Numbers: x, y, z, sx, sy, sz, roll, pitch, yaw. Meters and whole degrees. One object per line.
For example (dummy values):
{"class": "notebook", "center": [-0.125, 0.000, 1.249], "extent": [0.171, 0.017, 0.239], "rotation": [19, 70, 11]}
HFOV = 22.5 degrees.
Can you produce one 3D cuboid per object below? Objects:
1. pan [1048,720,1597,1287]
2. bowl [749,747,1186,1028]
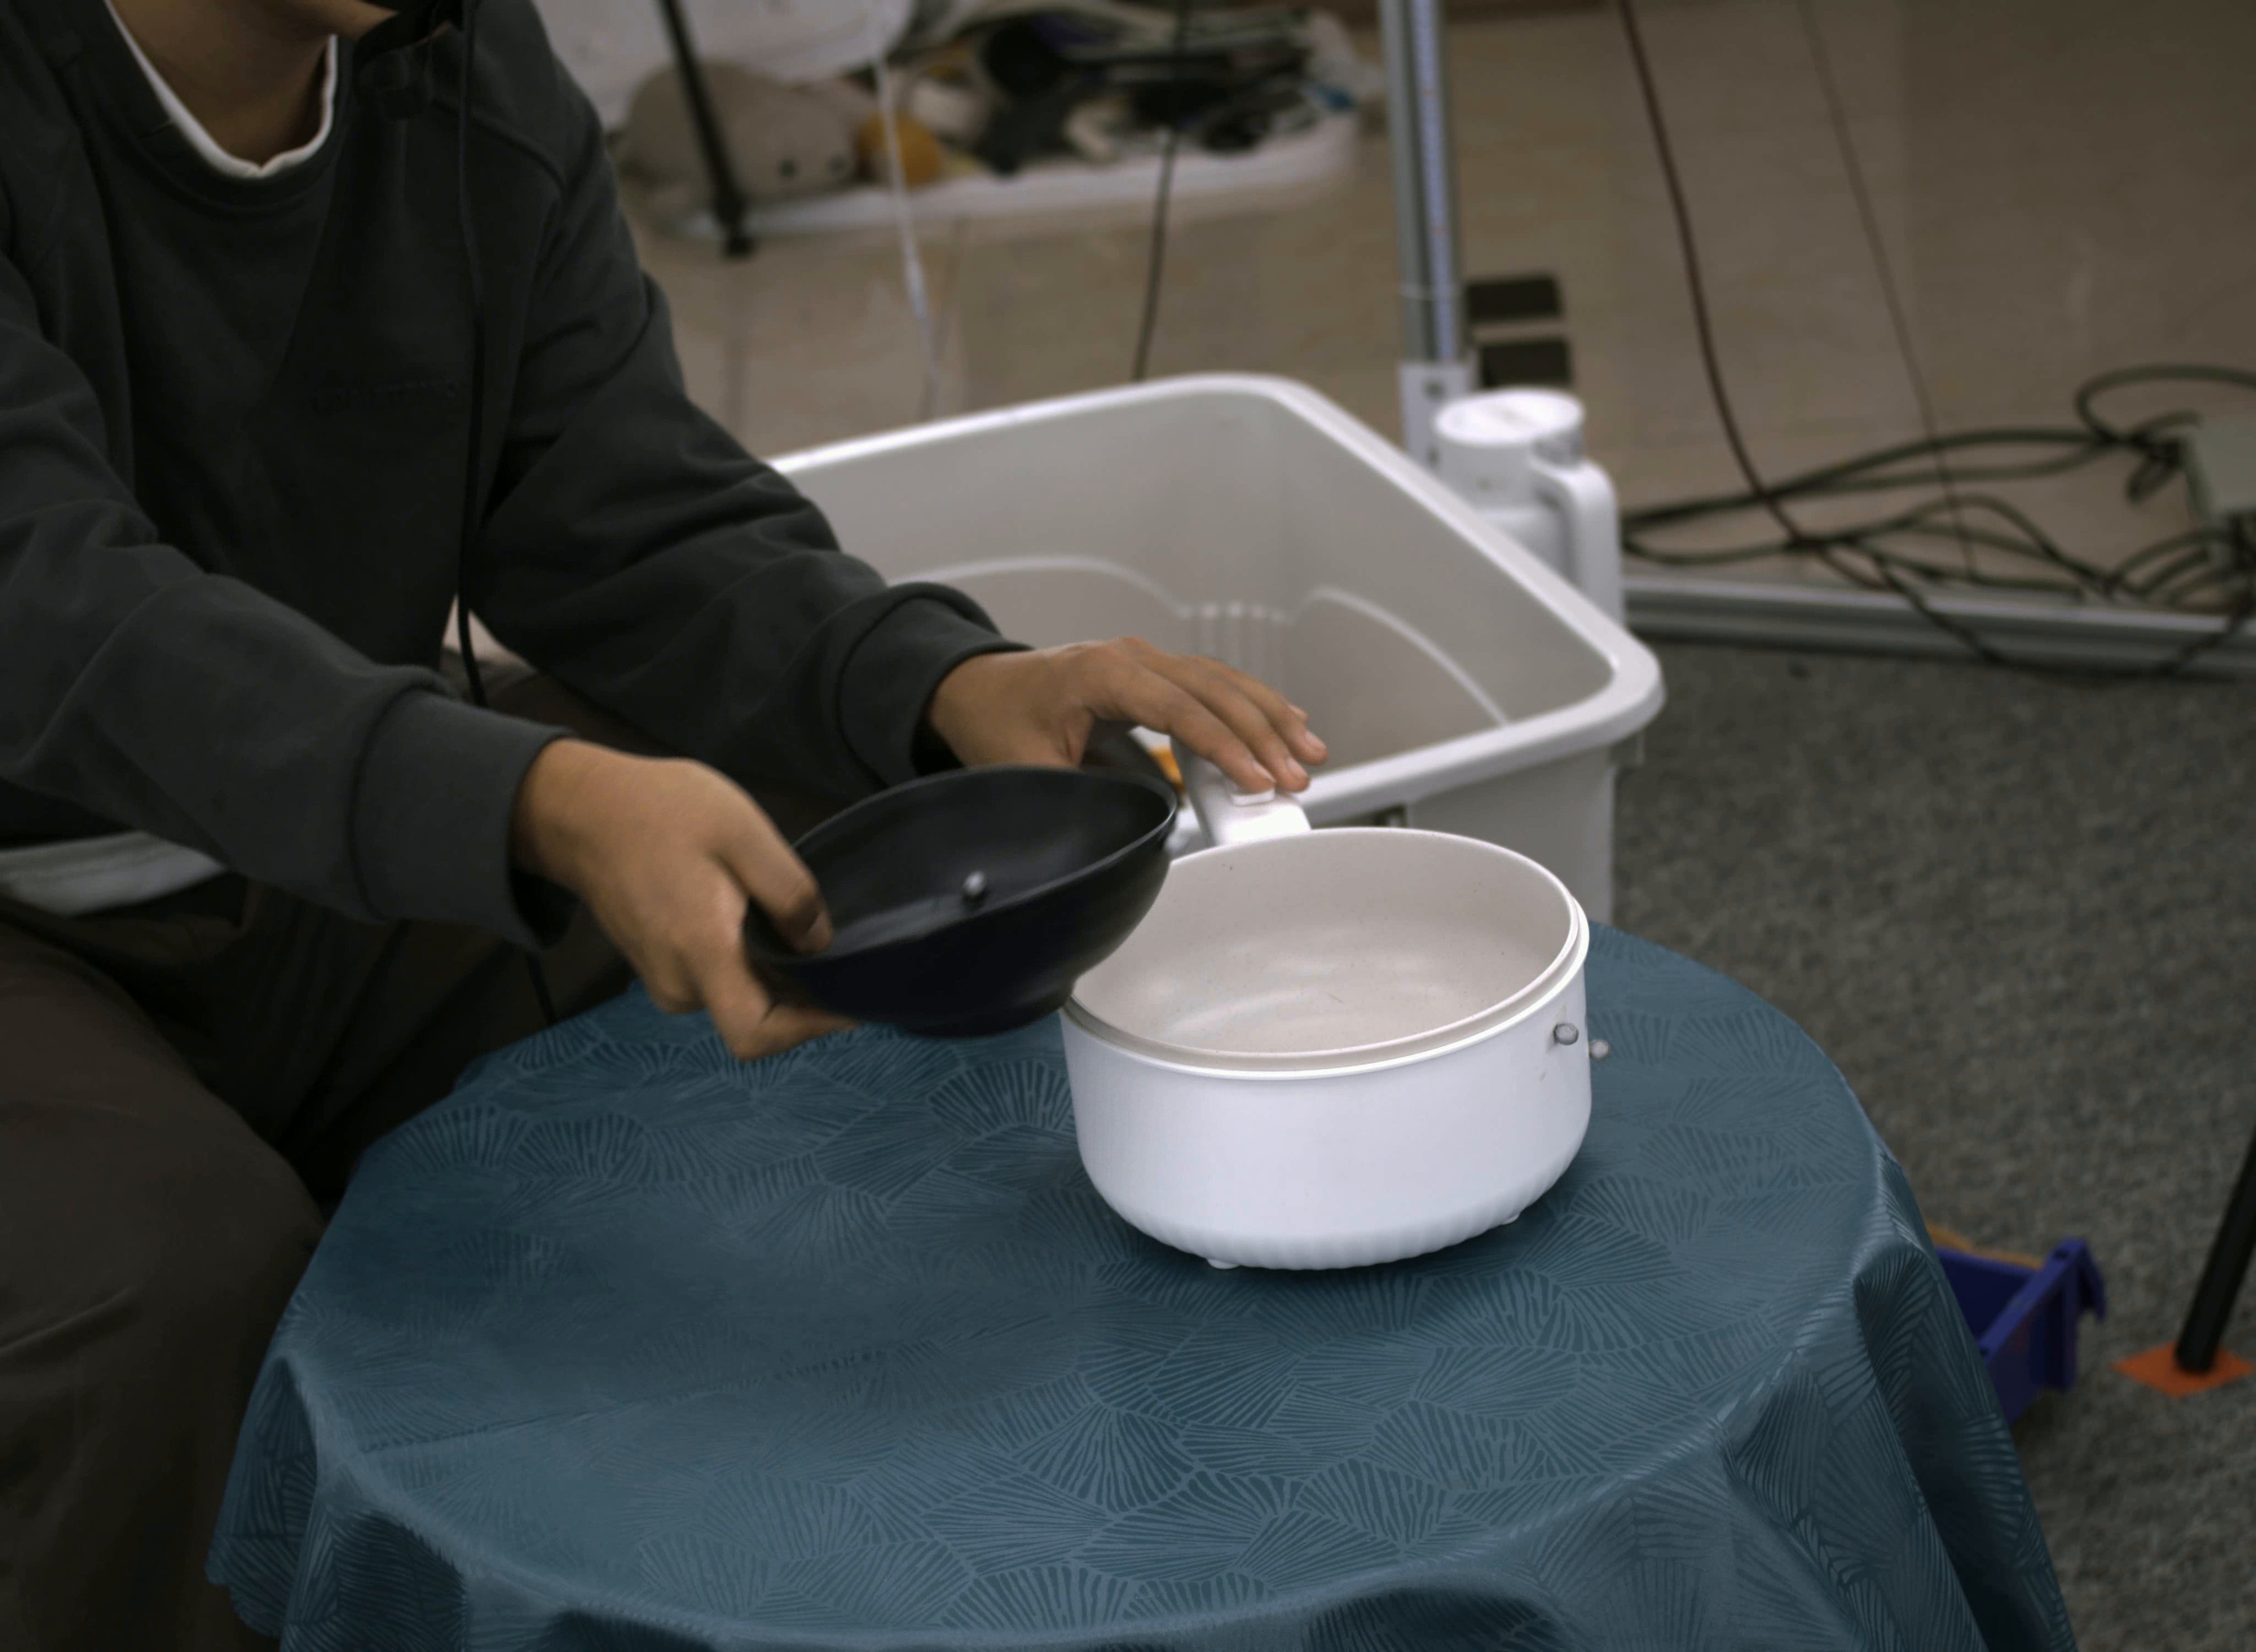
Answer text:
{"class": "pan", "center": [0.065, 0.065, 2.193], "extent": [0.201, 0.103, 0.350], "rotation": [-12, 23, -4]}
{"class": "bowl", "center": [-0.053, 0.030, 2.045], "extent": [0.169, 0.067, 0.136], "rotation": [-24, 25, -28]}
